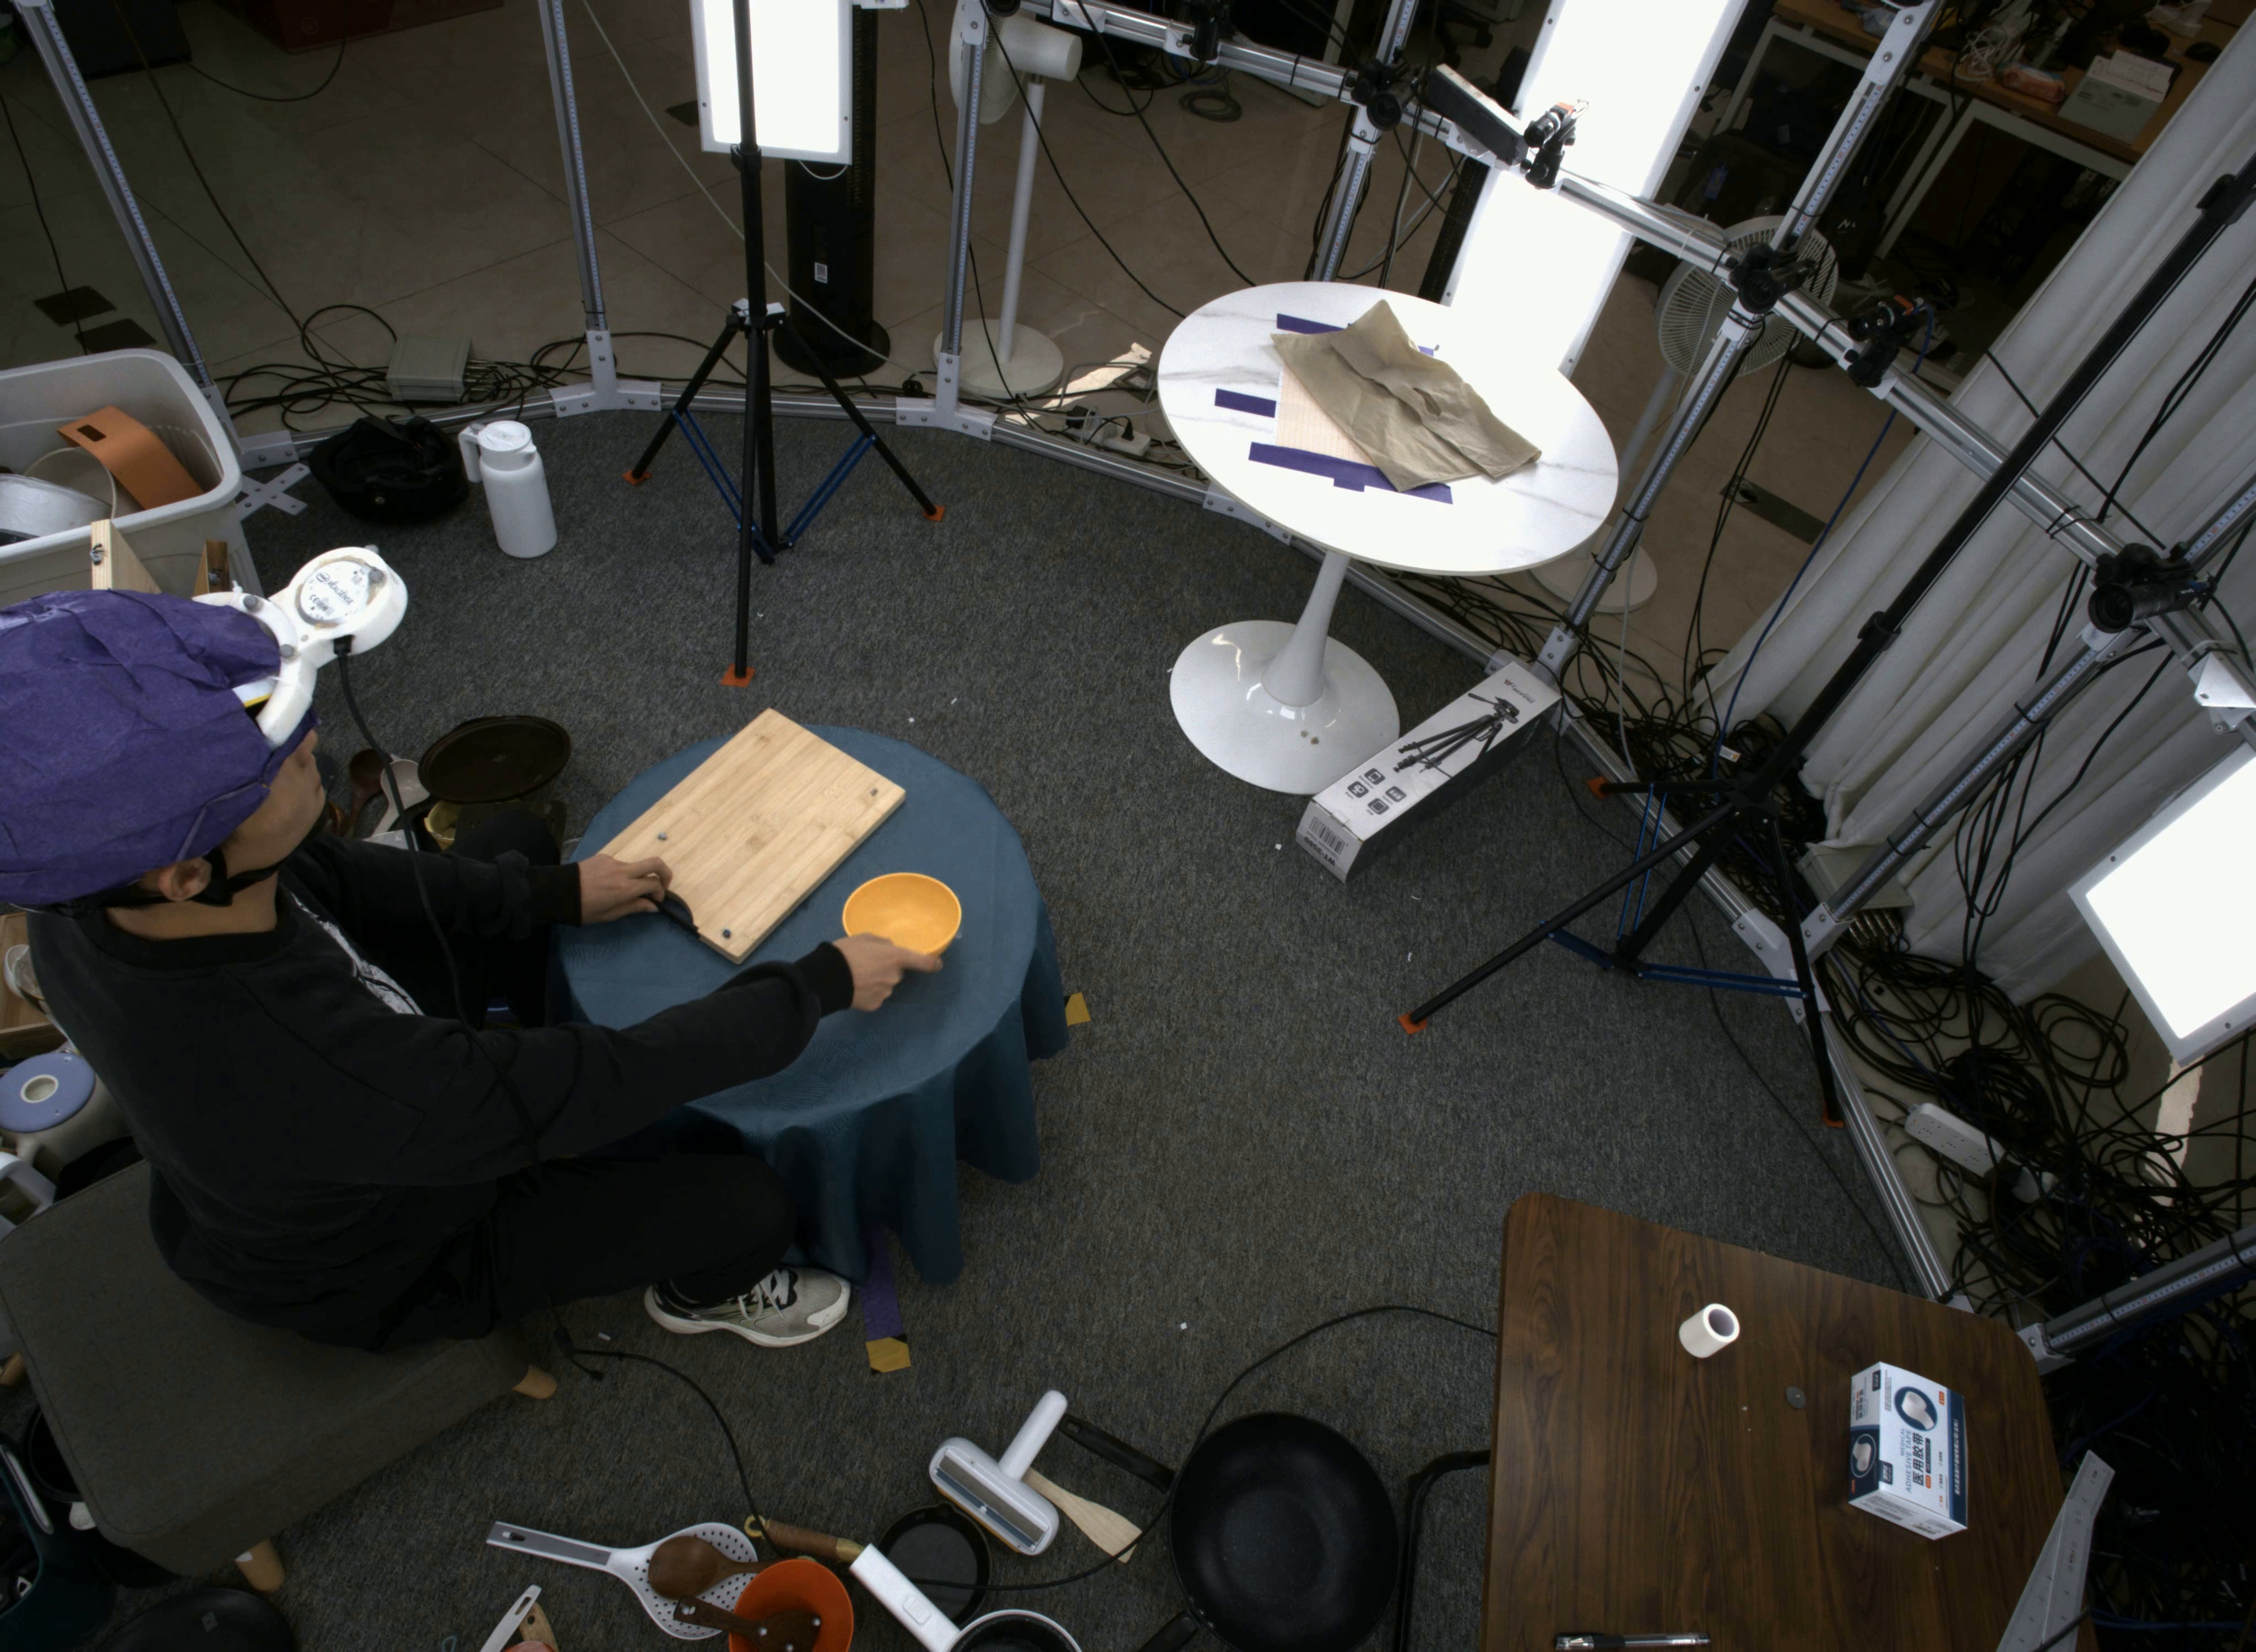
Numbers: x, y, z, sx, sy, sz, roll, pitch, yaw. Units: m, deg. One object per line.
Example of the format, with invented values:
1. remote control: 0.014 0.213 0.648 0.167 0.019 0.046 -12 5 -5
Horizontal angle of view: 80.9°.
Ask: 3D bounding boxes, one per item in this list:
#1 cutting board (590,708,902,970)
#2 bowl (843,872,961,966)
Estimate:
1. cutting board: -0.494 0.005 1.695 0.246 0.024 0.347 30 52 9
2. bowl: -0.278 0.125 1.615 0.144 0.062 0.142 3 42 -1
